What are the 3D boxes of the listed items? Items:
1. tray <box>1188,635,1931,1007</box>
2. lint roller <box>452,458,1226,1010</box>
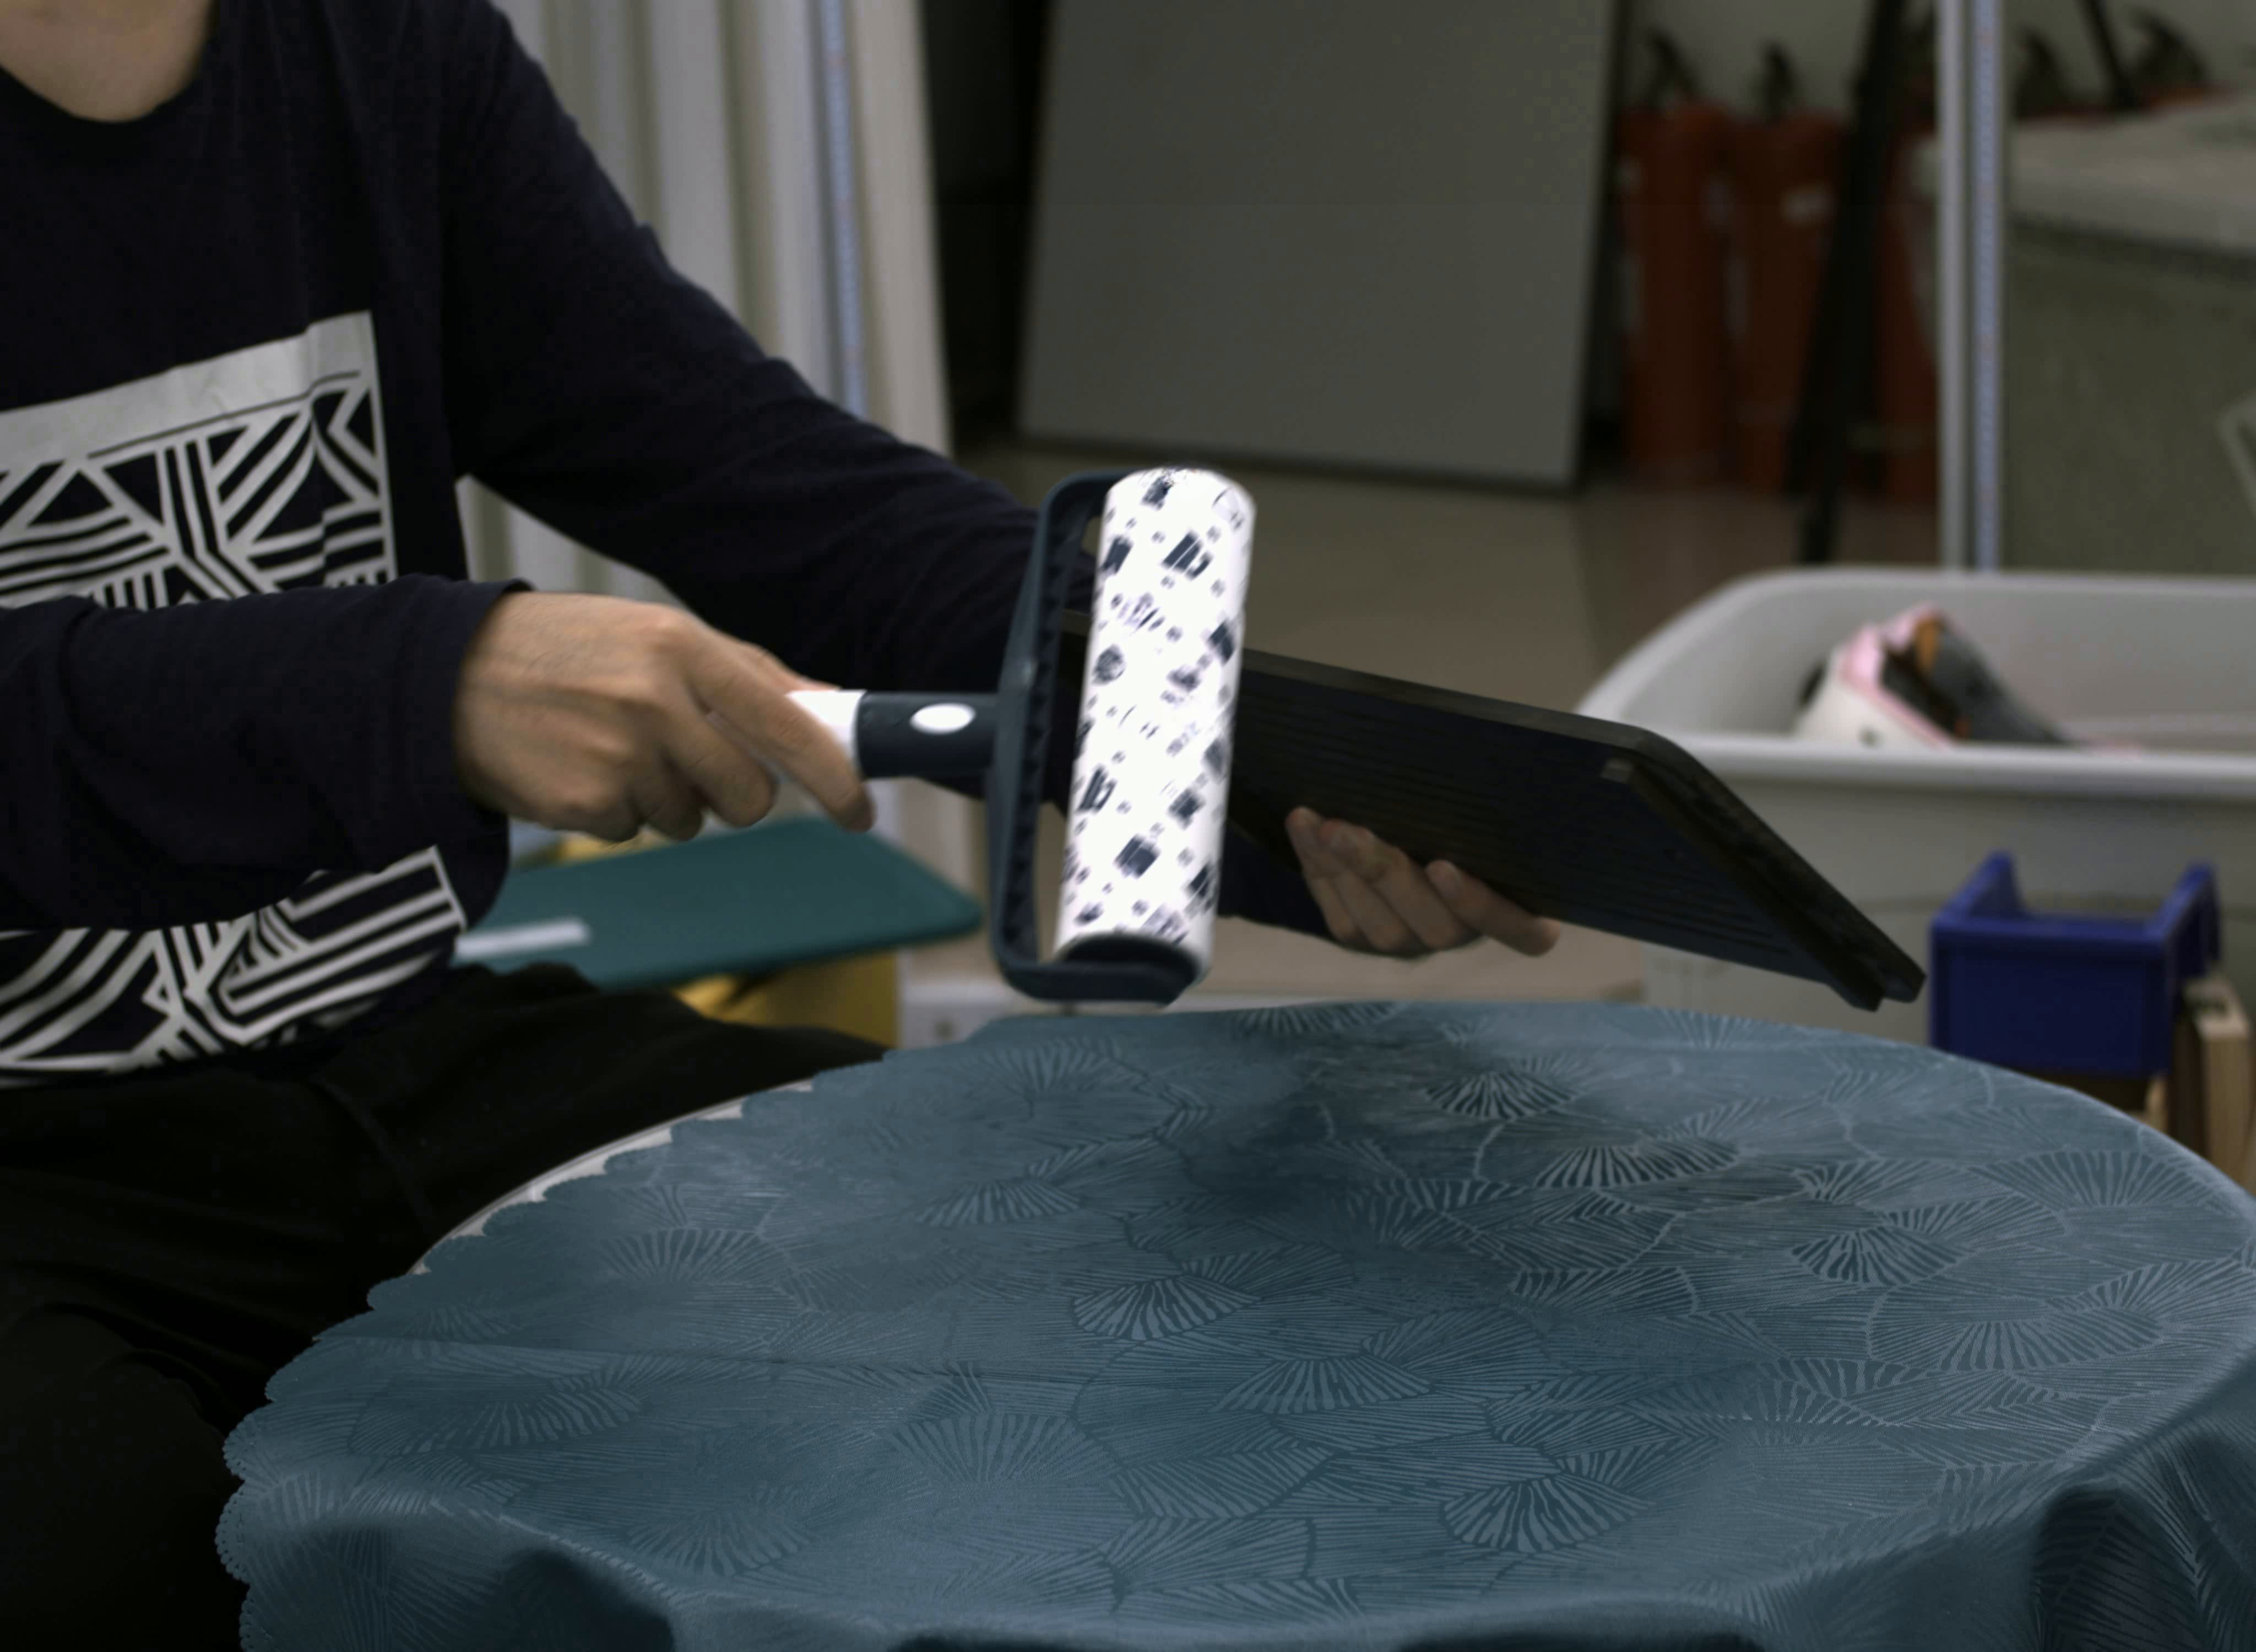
[{"bbox_3d":[0.107,-0.006,1.766,0.309,0.019,0.167,12,-22,48],"label":"tray"},{"bbox_3d":[-0.095,-0.026,1.663,0.246,0.178,0.050,-2,-26,15],"label":"lint roller"}]
